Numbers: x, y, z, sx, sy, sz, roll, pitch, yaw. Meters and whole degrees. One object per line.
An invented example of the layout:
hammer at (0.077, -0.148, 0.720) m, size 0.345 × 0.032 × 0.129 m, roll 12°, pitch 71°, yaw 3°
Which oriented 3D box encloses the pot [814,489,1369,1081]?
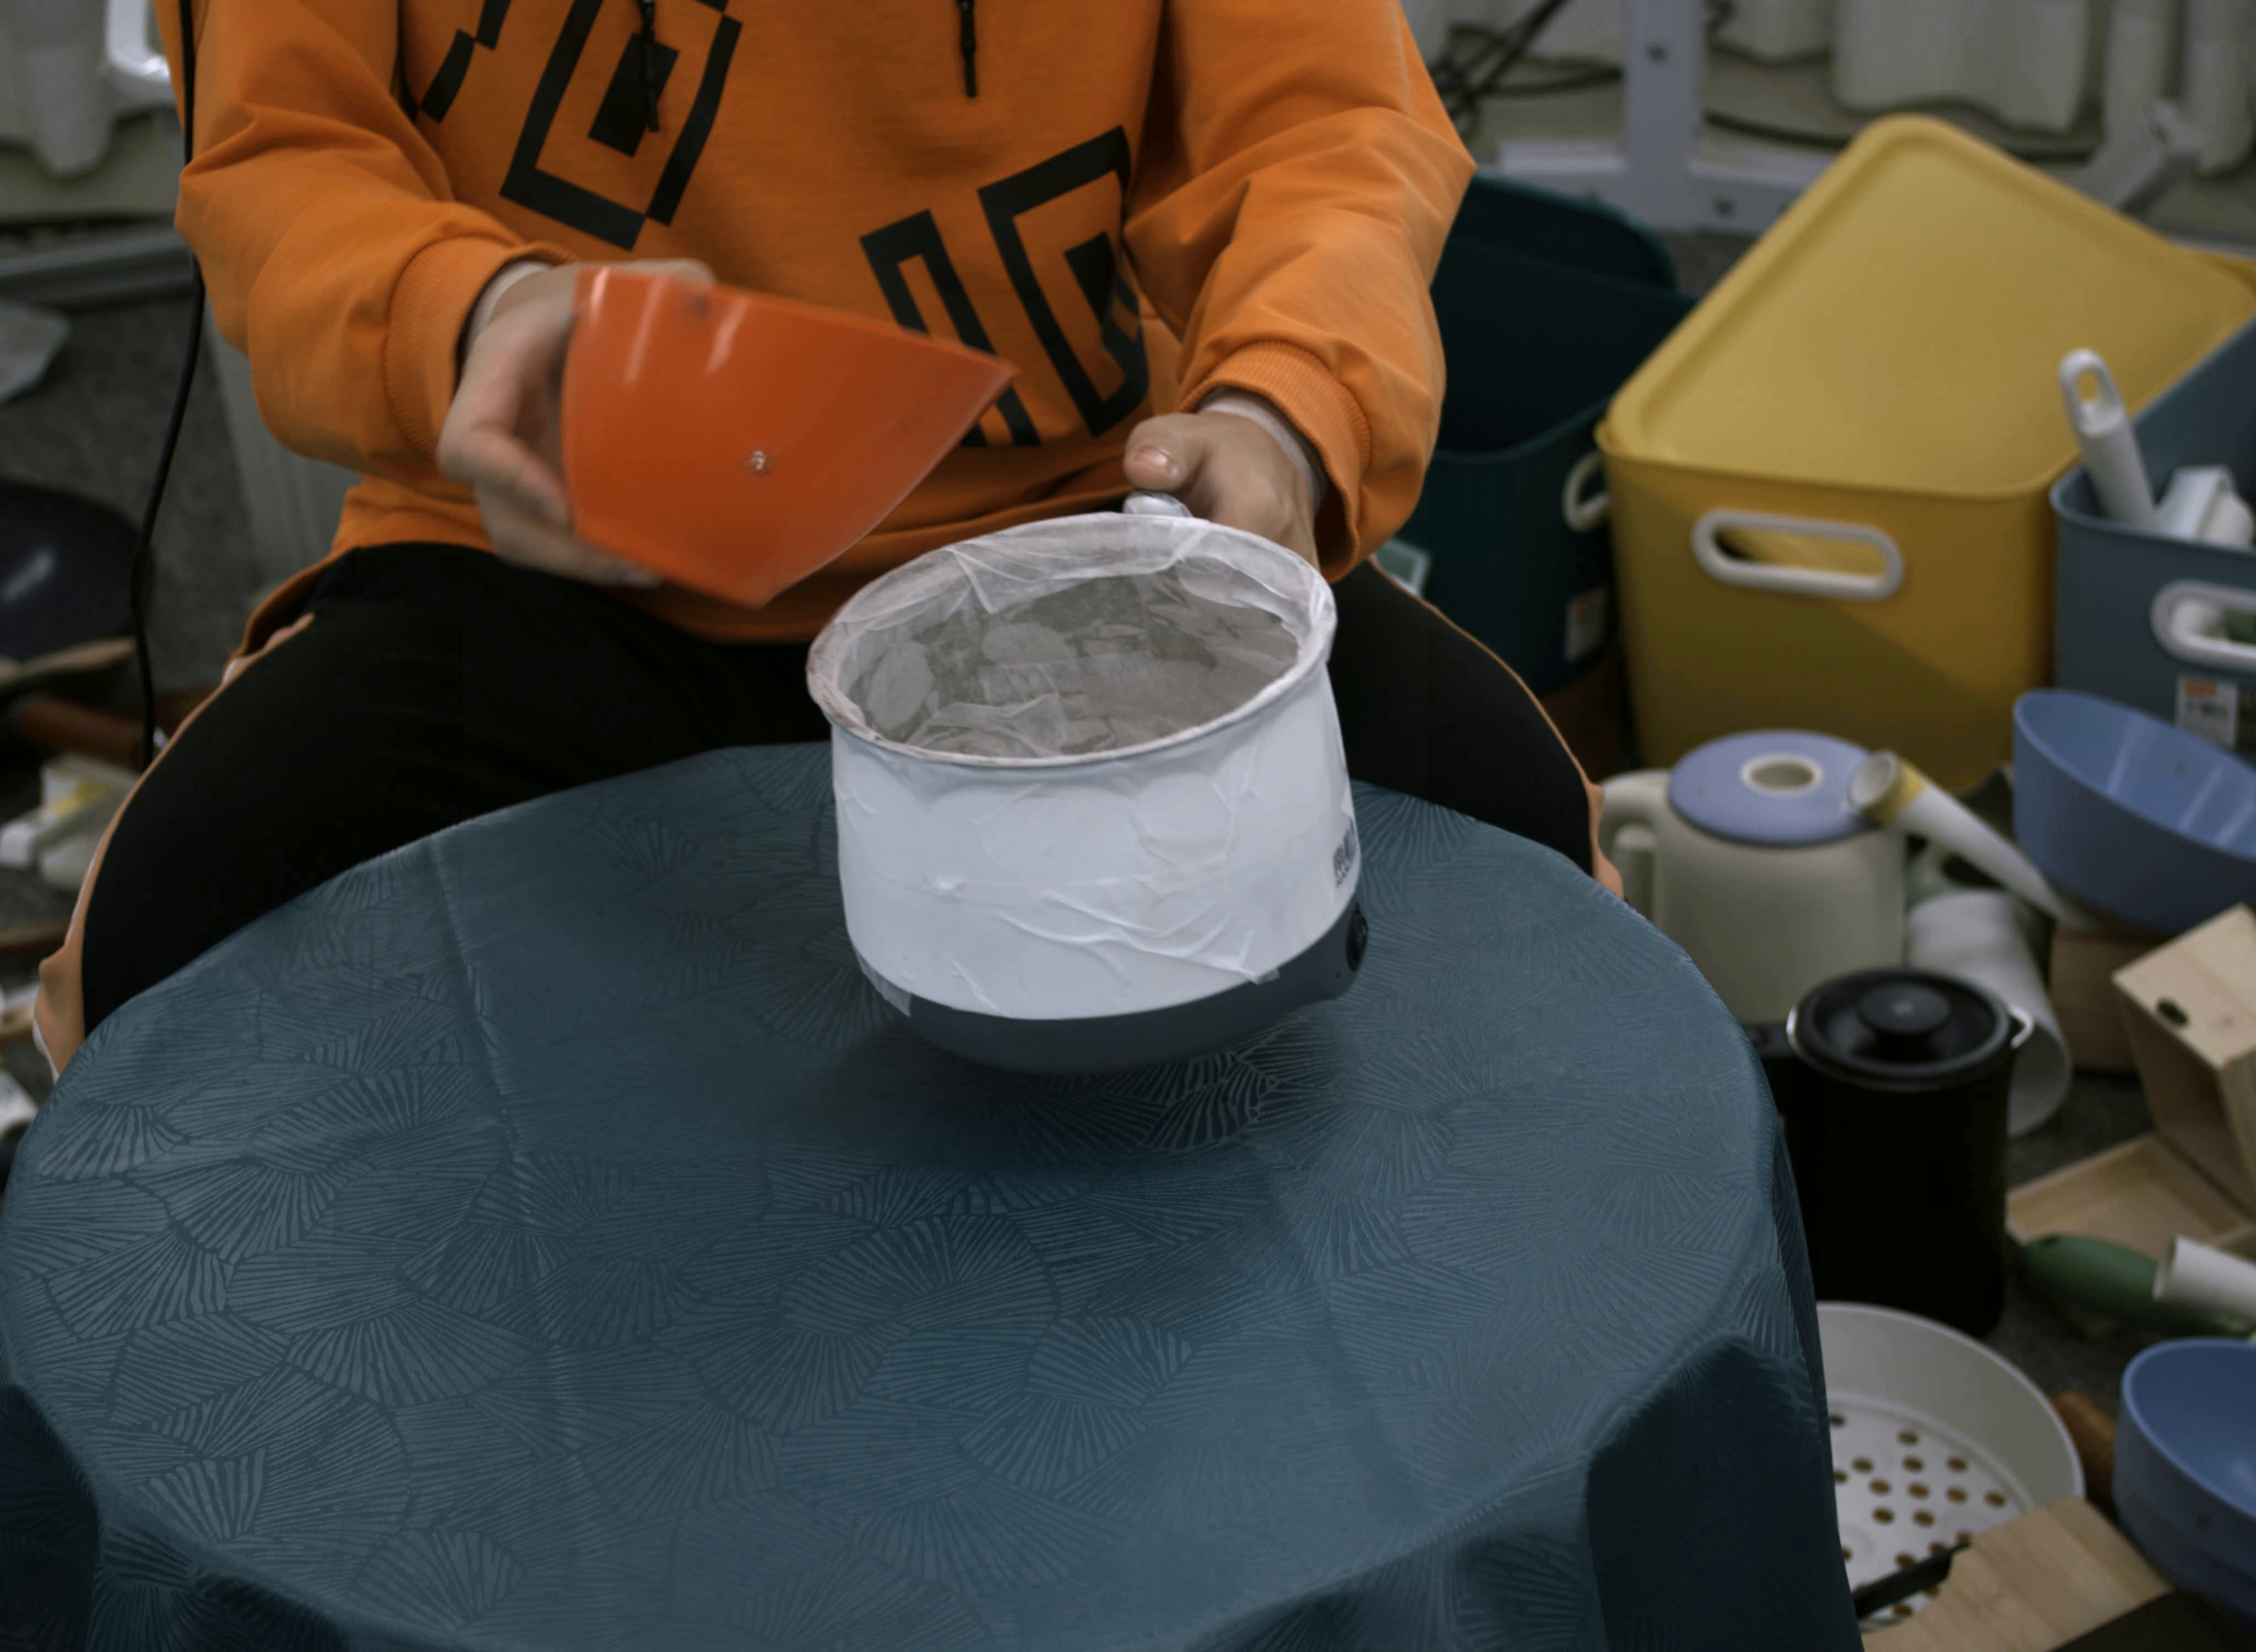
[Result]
pot at (-0.004, -0.021, 1.919) m, size 0.177 × 0.135 × 0.238 m, roll 2°, pitch 29°, yaw 14°

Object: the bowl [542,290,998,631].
bowl at (-0.129, -0.120, 1.848) m, size 0.147 × 0.105 × 0.148 m, roll 20°, pitch 3°, yaw 0°
